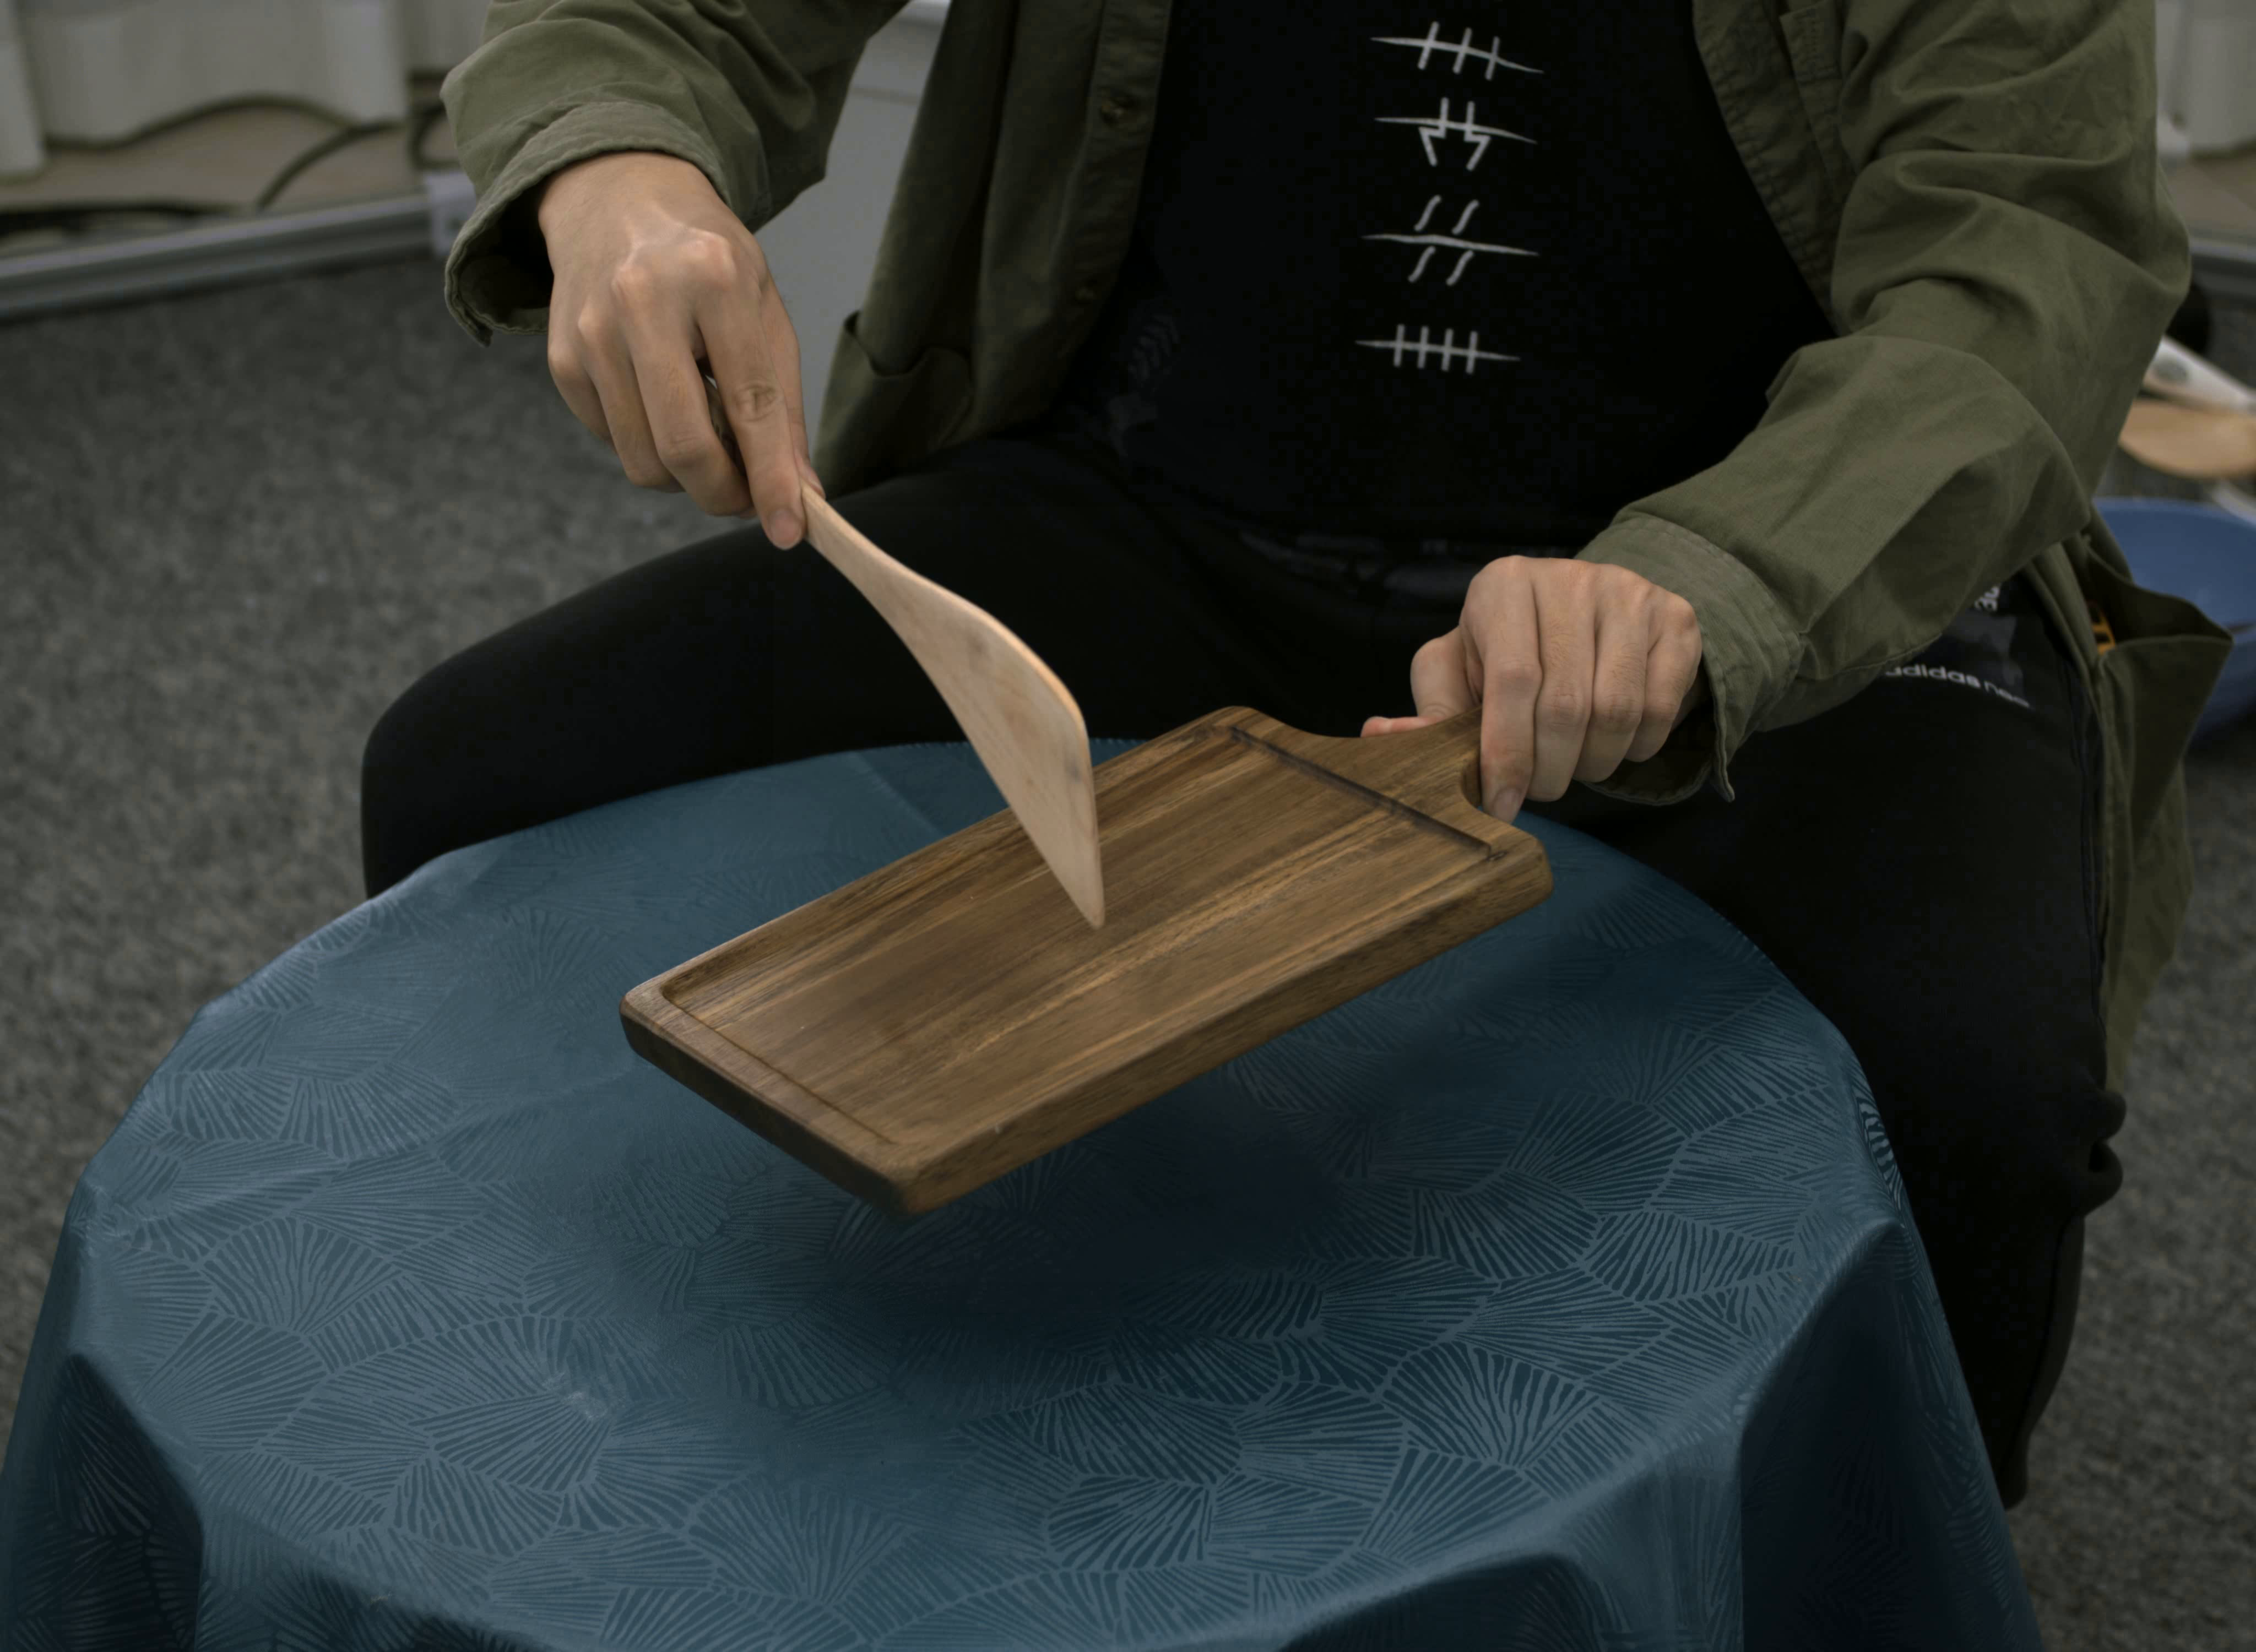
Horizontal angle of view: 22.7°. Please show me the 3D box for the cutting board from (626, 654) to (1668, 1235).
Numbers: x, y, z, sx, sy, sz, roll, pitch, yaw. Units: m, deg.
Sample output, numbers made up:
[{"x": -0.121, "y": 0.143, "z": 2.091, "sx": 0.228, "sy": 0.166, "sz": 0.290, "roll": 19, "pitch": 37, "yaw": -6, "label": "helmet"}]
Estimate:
[{"x": 0.029, "y": 0.023, "z": 1.811, "sx": 0.355, "sy": 0.023, "sz": 0.201, "roll": -25, "pitch": 26, "yaw": -22, "label": "cutting board"}]

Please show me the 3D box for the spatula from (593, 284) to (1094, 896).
[{"x": -0.096, "y": -0.093, "z": 1.830, "sx": 0.016, "sy": 0.079, "sz": 0.330, "roll": -23, "pitch": 44, "yaw": -25, "label": "spatula"}]
